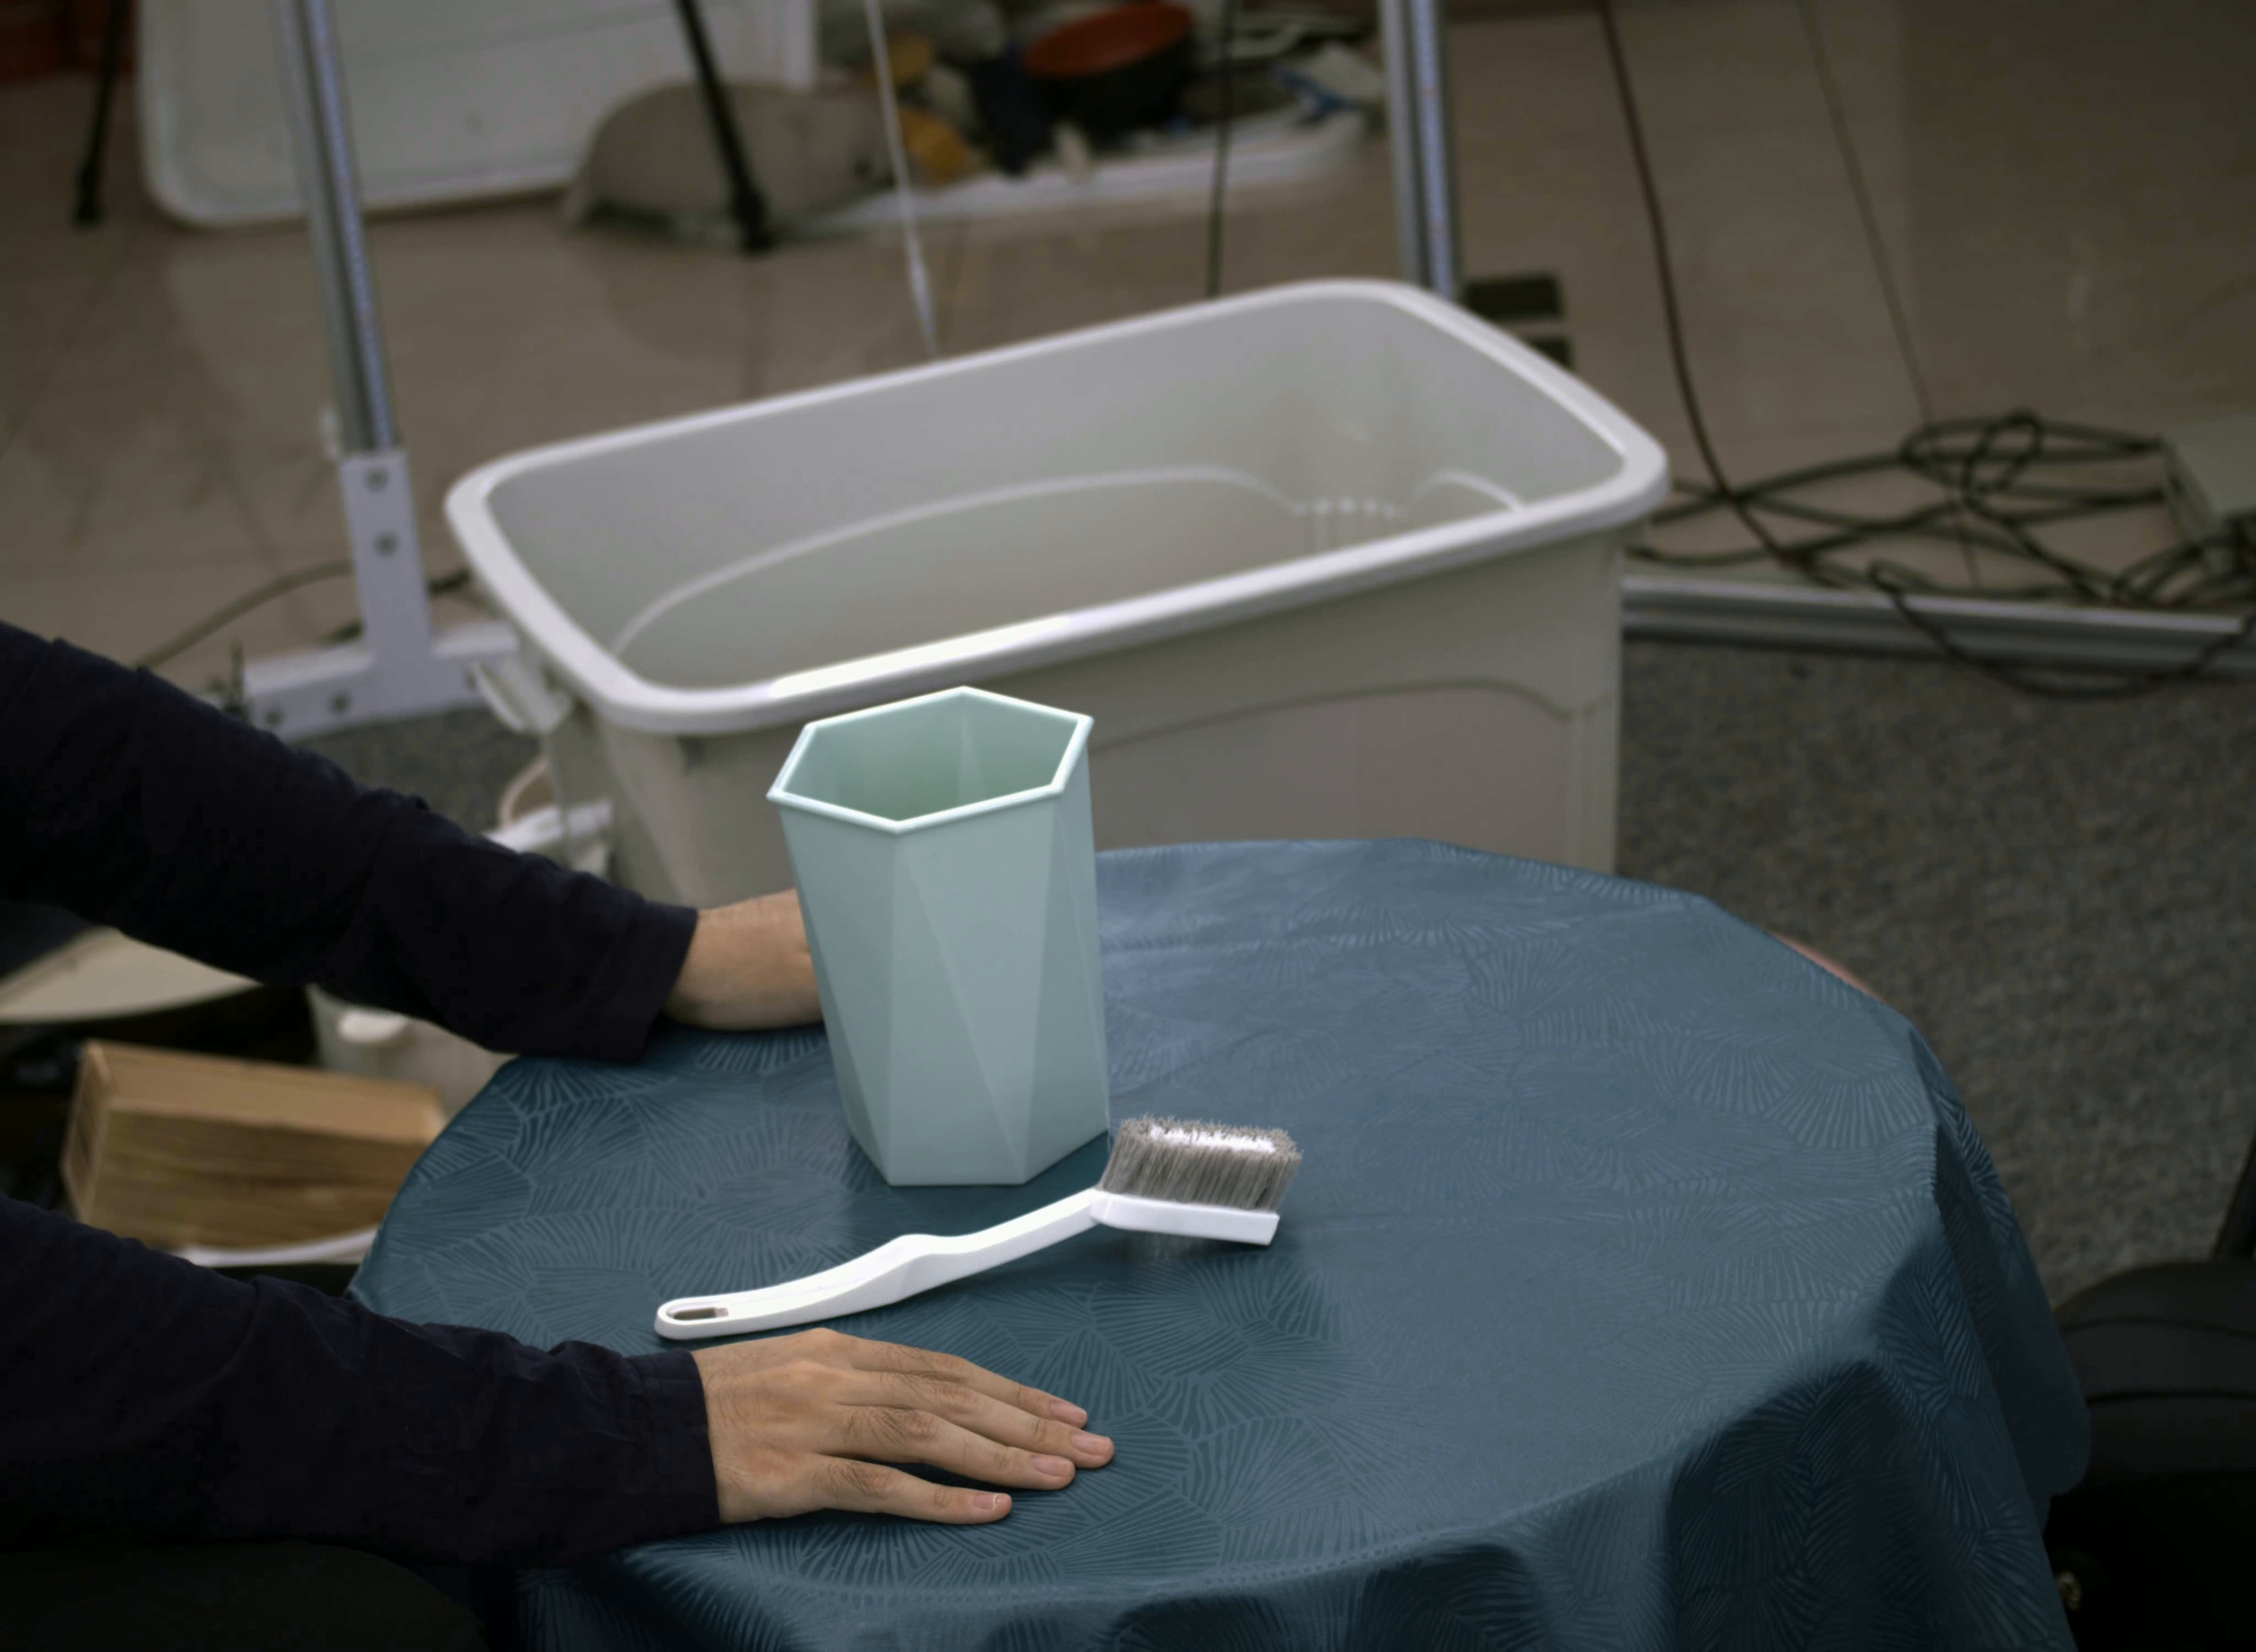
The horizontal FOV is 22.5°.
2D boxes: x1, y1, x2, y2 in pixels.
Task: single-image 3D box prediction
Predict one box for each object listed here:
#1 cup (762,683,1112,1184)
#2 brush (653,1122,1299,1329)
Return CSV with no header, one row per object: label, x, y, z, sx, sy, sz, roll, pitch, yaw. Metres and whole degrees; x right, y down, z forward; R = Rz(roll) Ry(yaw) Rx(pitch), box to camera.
cup,-0.067,0.044,2.172,0.130,0.165,0.114,13,33,37
brush,-0.057,0.145,2.090,0.243,0.051,0.034,-8,26,-4
